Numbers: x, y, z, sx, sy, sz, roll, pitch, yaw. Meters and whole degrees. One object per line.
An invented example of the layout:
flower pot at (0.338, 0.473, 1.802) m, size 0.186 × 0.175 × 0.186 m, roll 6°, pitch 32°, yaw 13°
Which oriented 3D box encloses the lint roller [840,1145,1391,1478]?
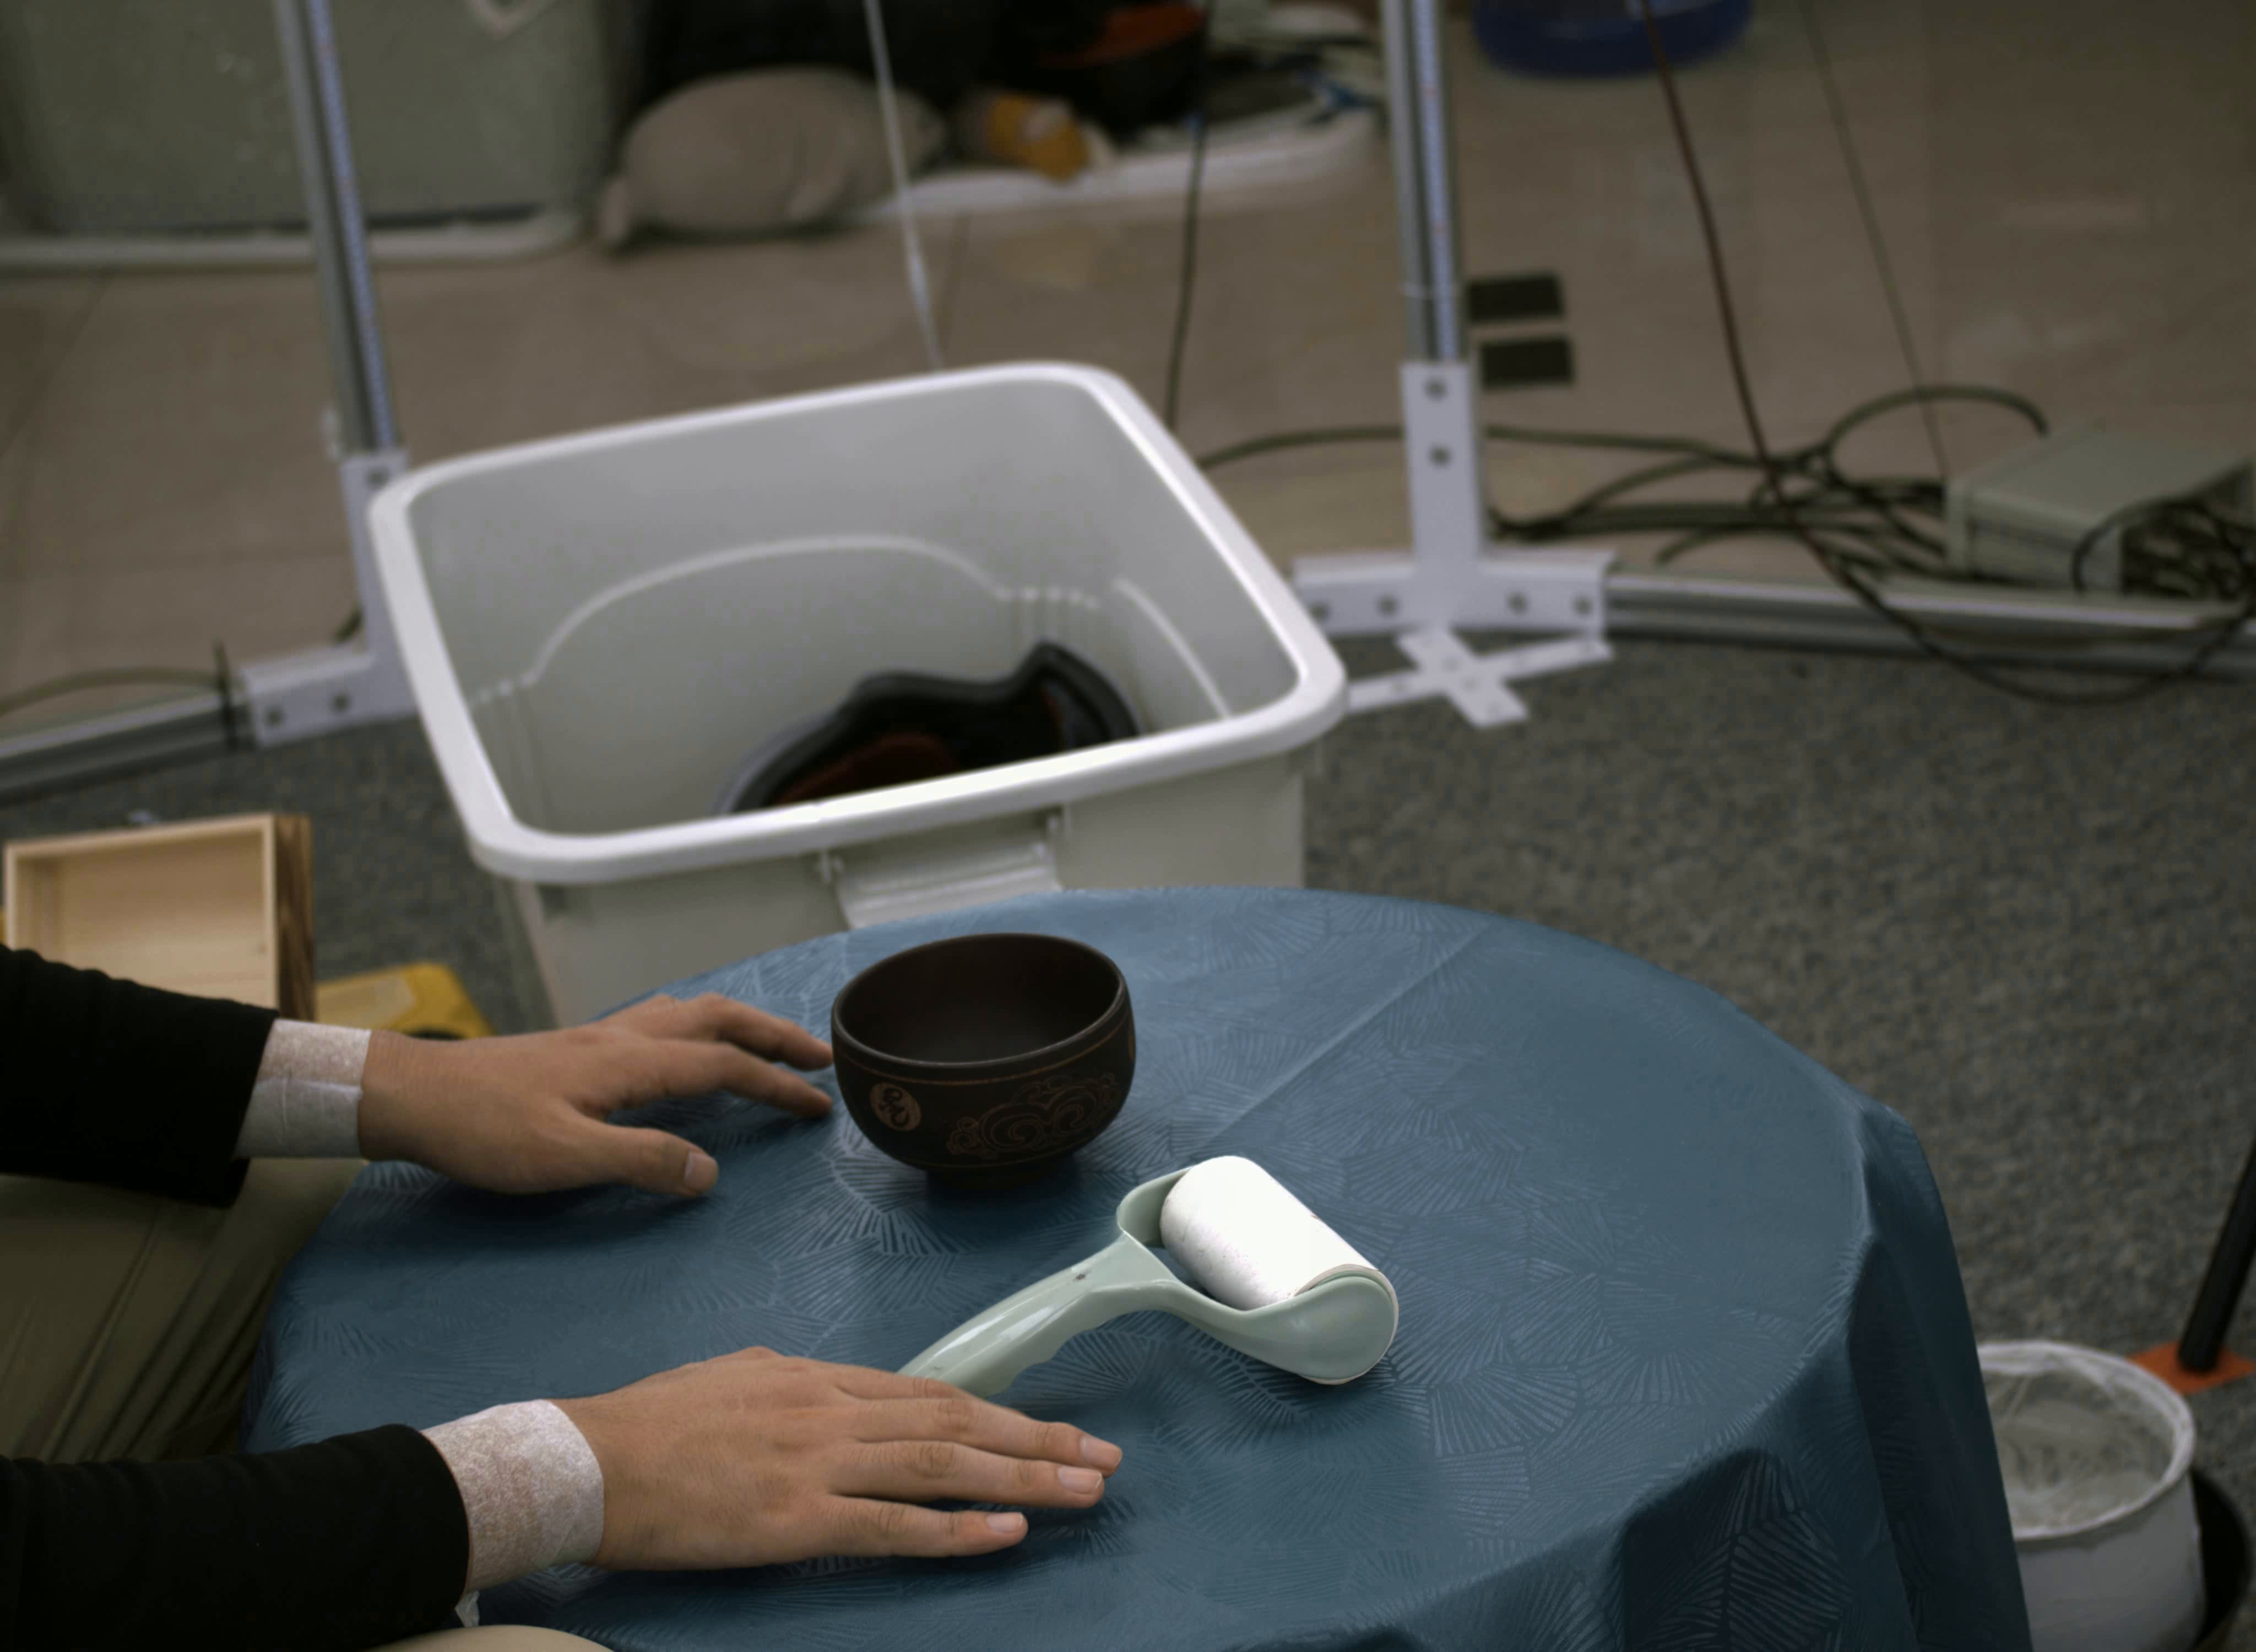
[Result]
lint roller at (-0.015, 0.177, 2.018) m, size 0.196 × 0.049 × 0.115 m, roll -18°, pitch 28°, yaw -19°

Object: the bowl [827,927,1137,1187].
bowl at (-0.054, 0.095, 2.170) m, size 0.118 × 0.071 × 0.116 m, roll -6°, pitch 26°, yaw 3°
